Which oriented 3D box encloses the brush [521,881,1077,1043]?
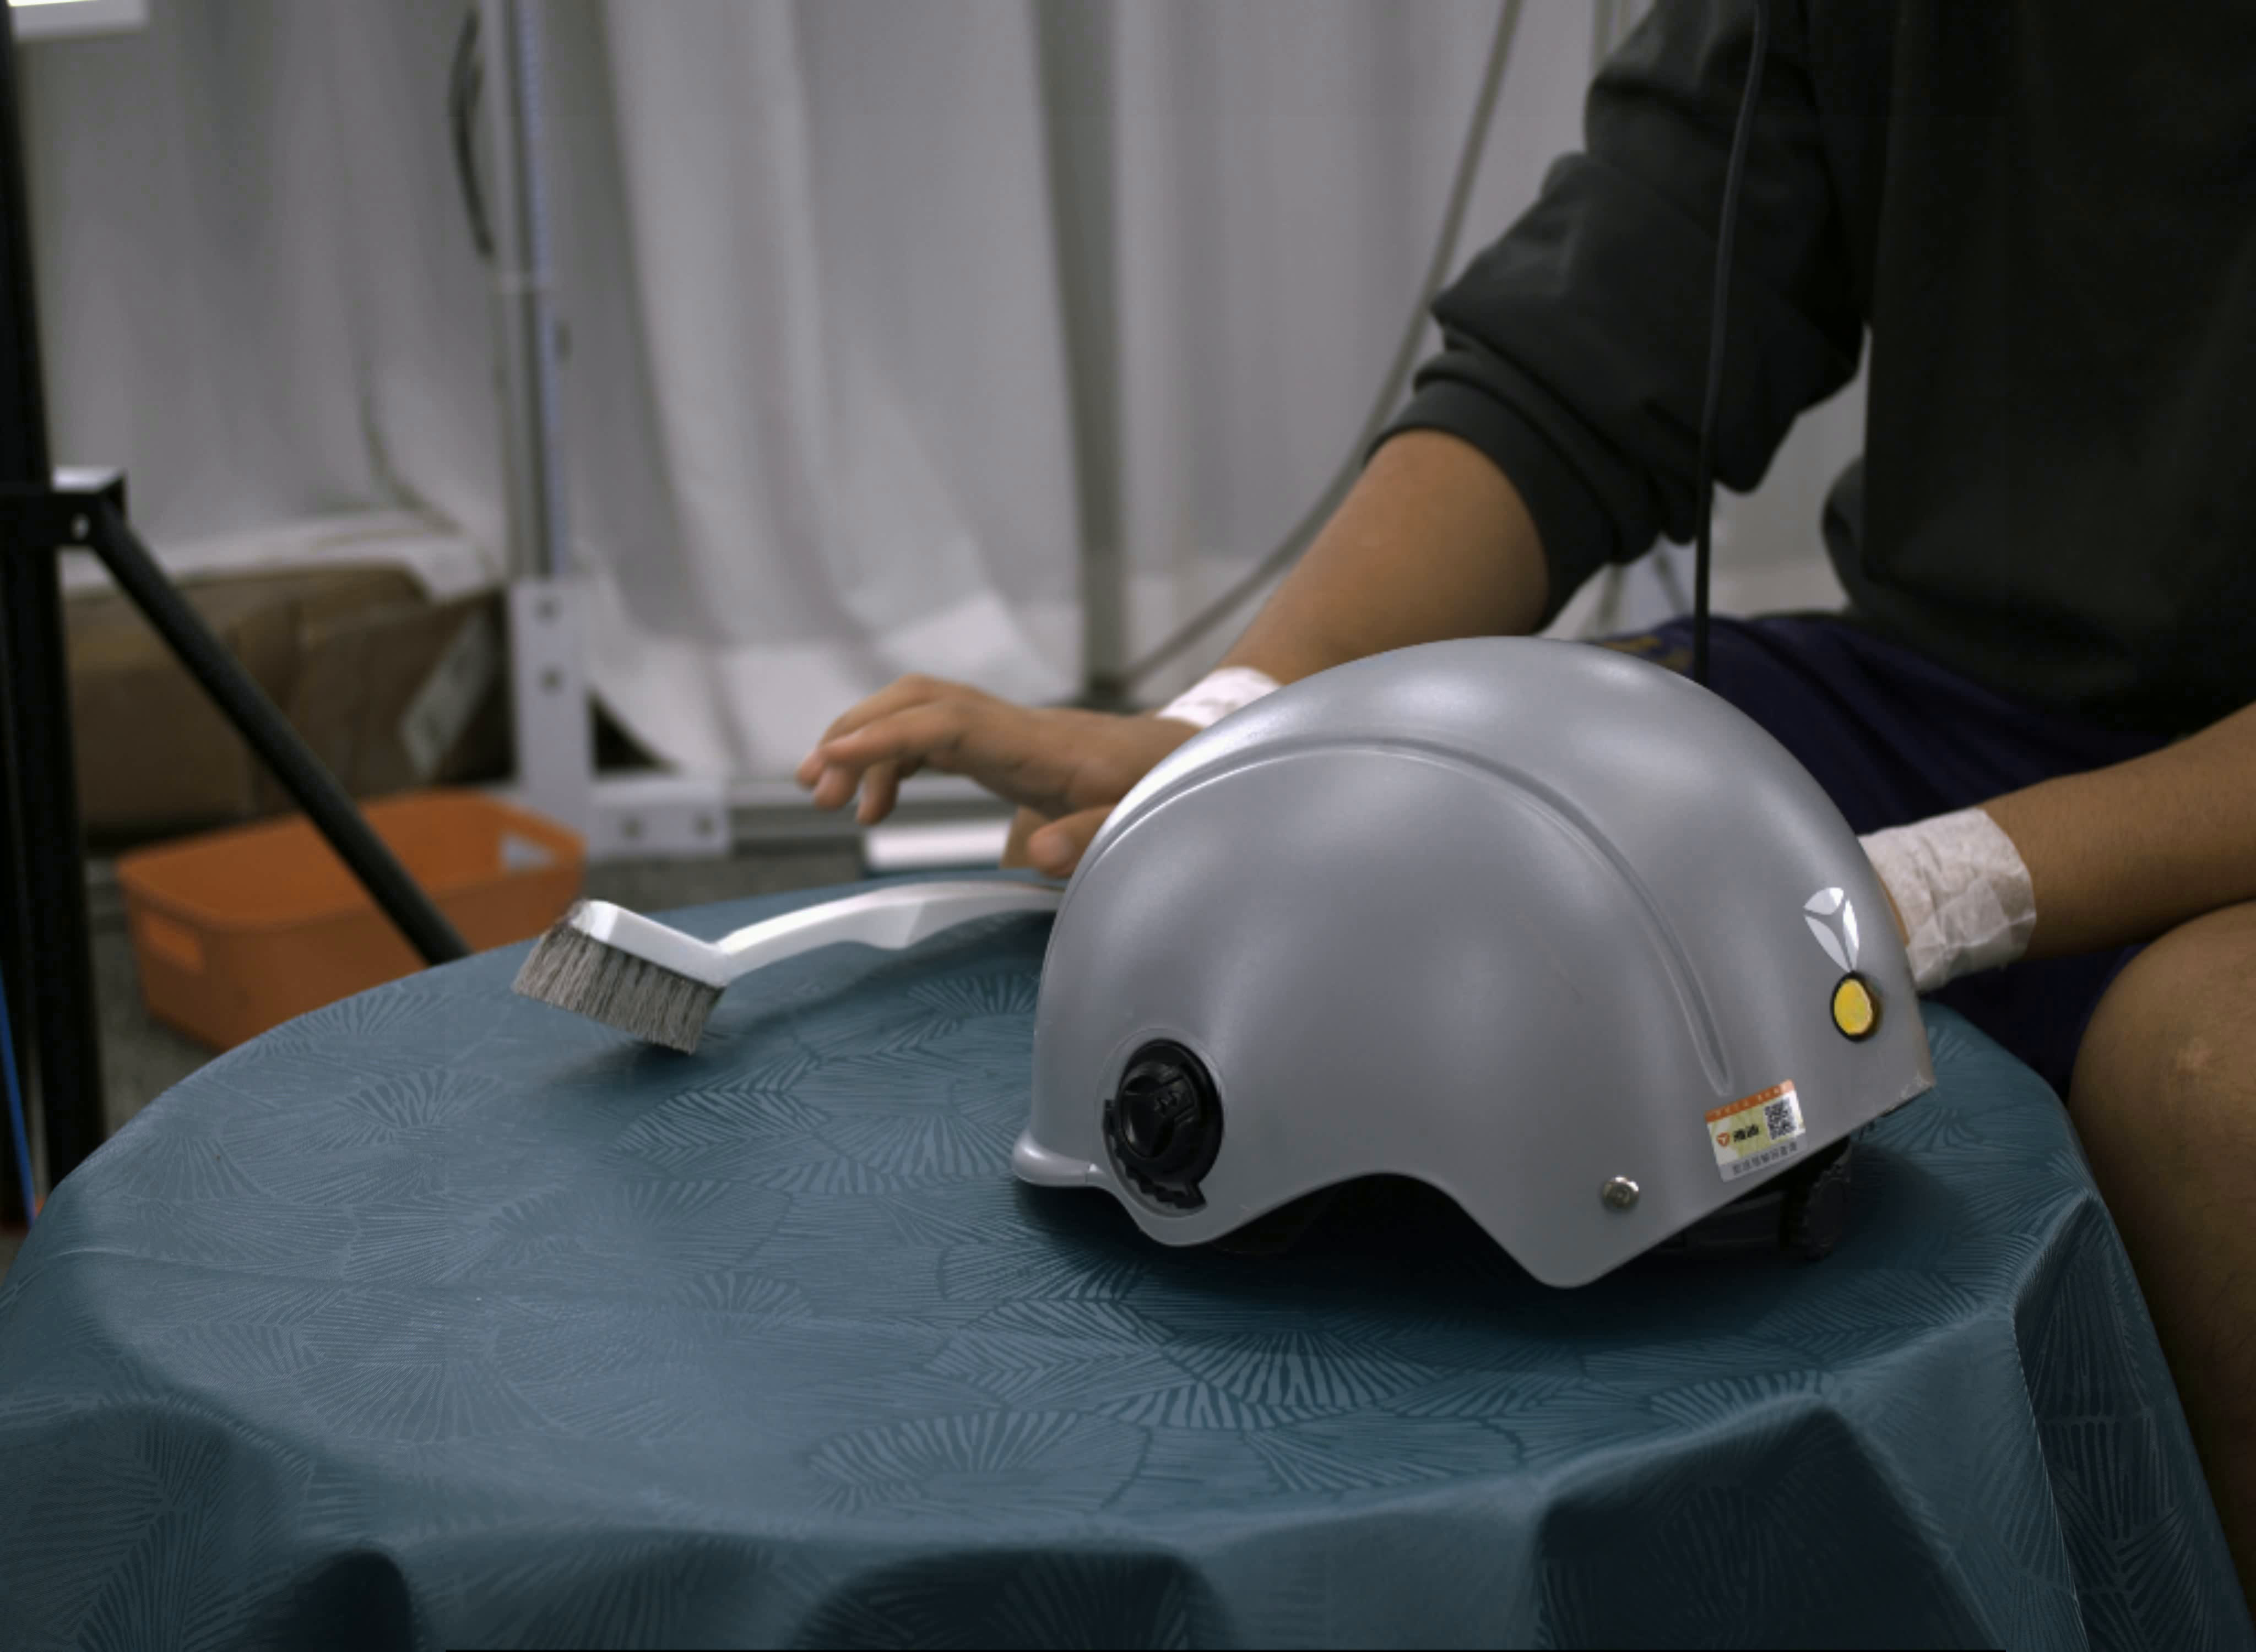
[{"bbox_3d":[-0.101,0.045,1.760,0.035,0.050,0.237,12,7,42],"label":"brush"}]

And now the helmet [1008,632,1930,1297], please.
[{"bbox_3d":[0.093,0.029,1.528,0.282,0.169,0.227,6,15,35],"label":"helmet"}]
